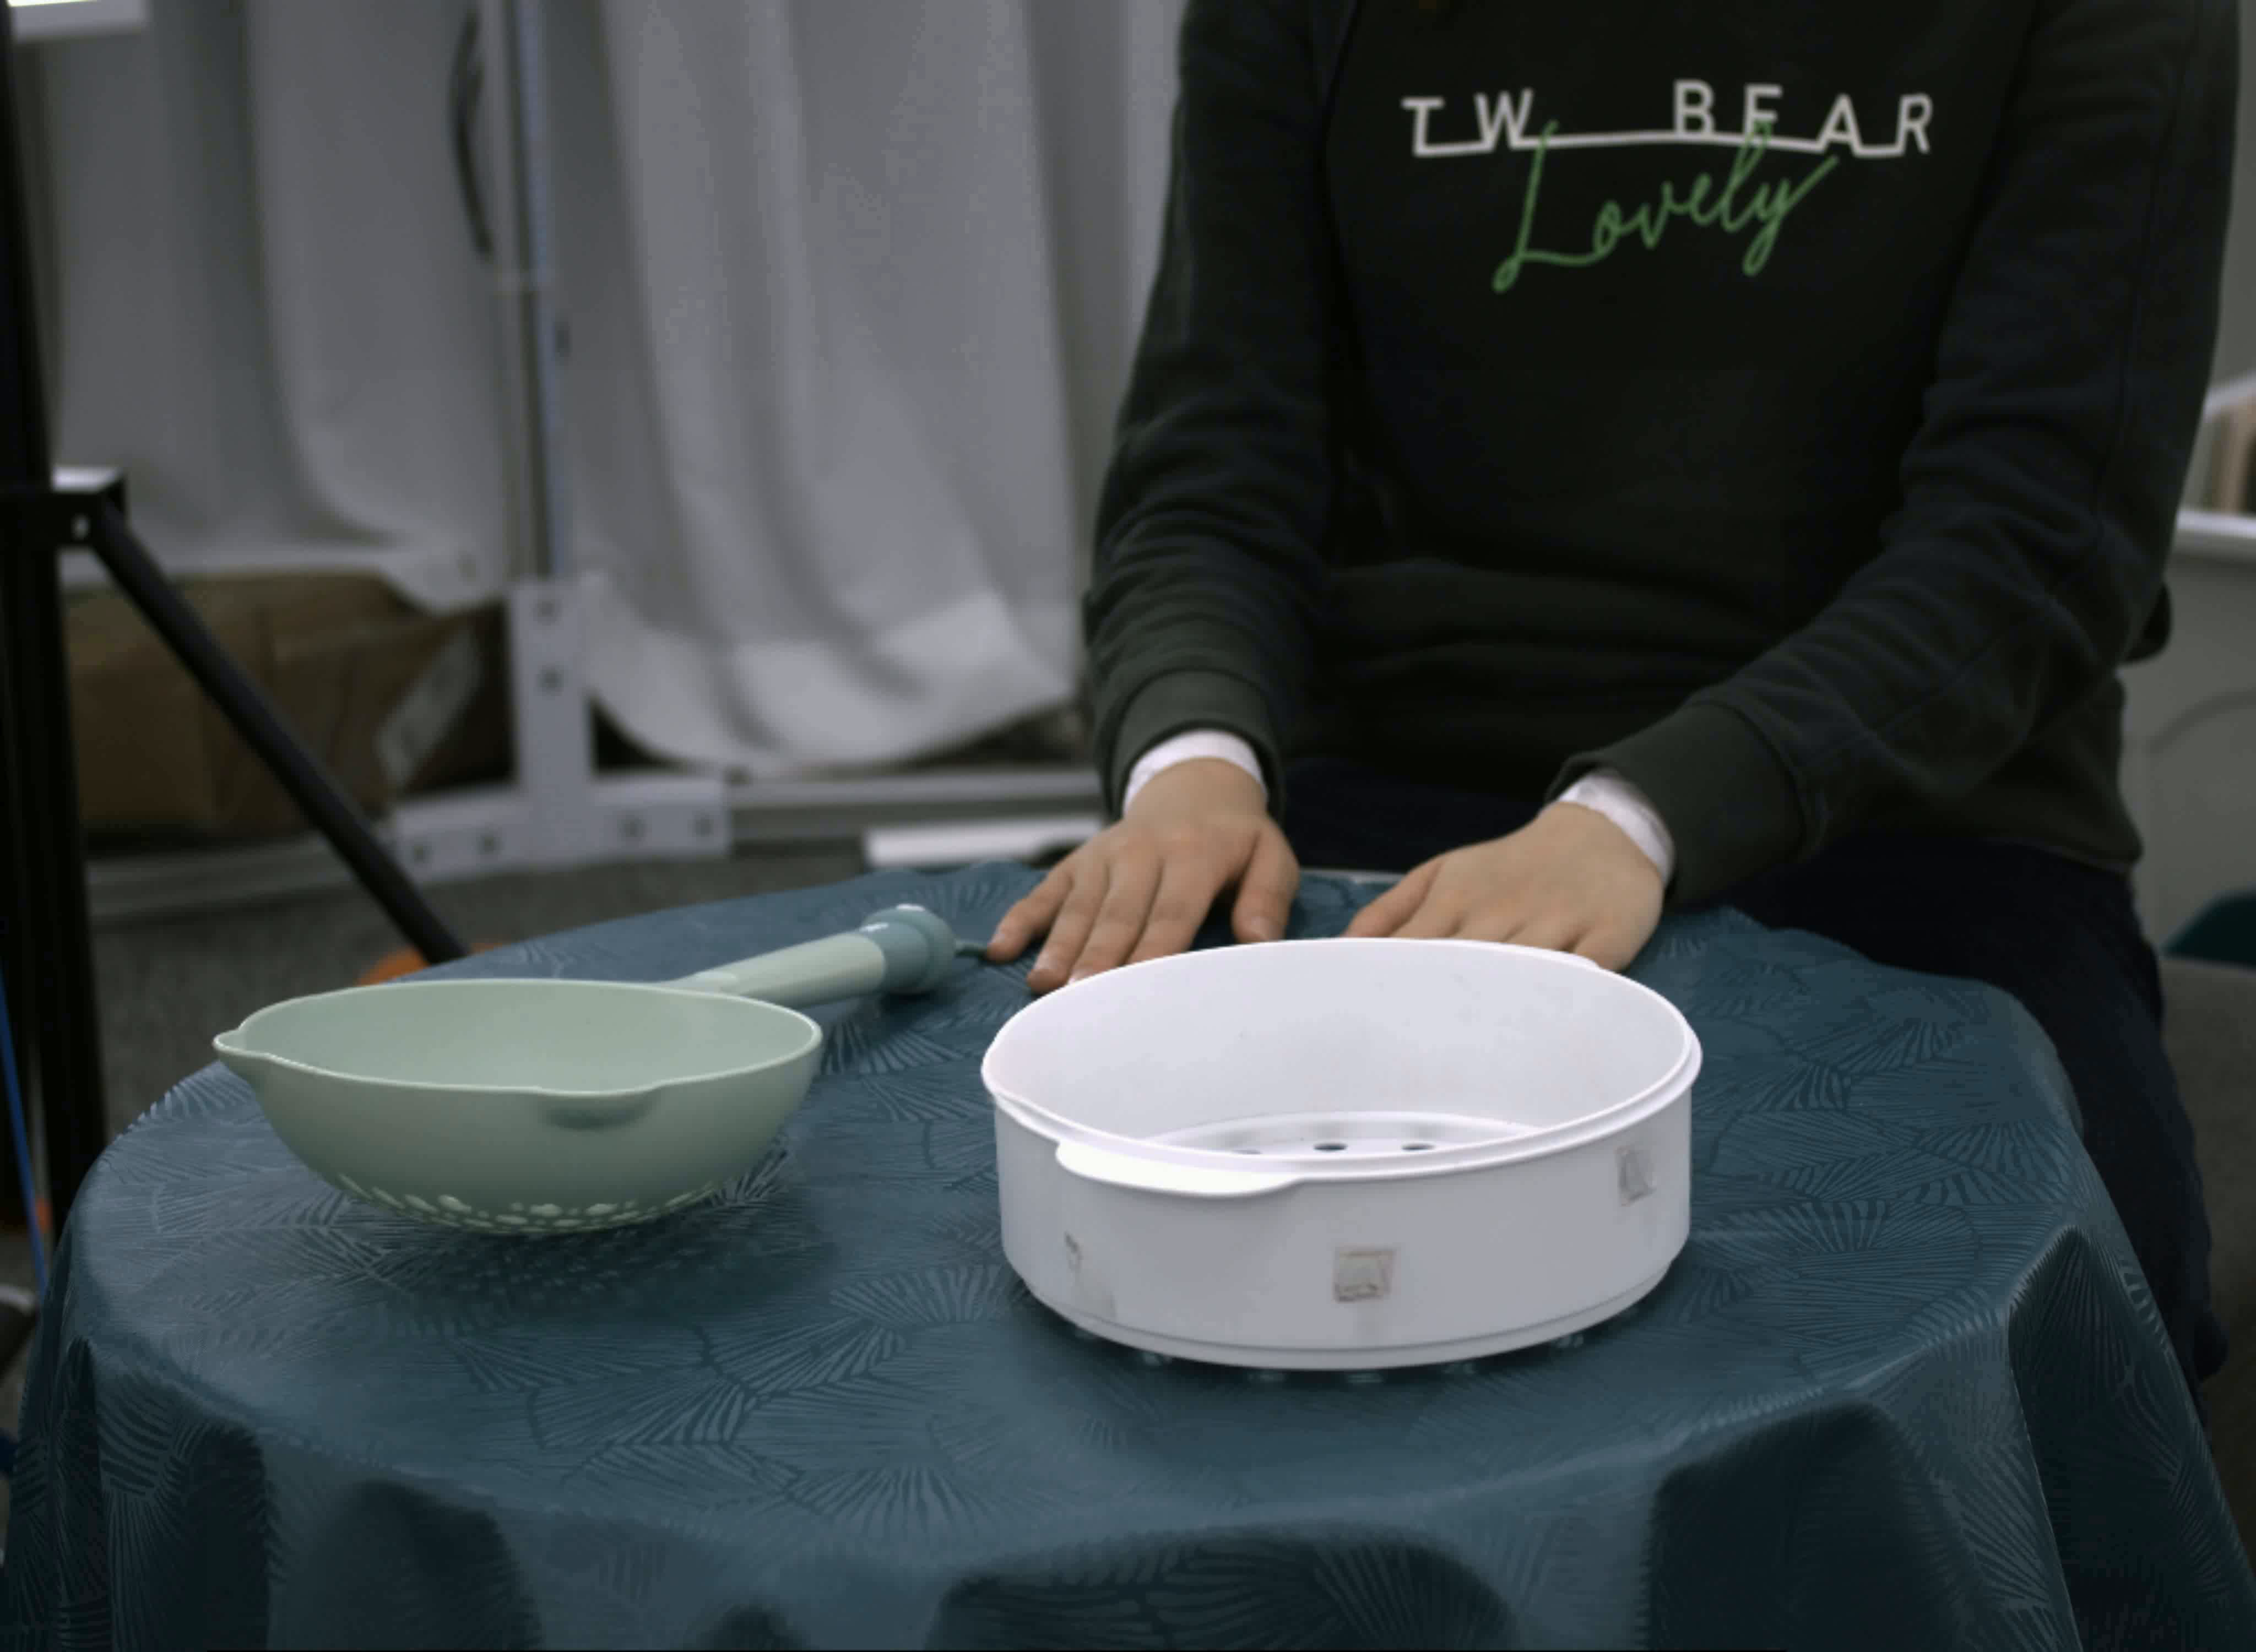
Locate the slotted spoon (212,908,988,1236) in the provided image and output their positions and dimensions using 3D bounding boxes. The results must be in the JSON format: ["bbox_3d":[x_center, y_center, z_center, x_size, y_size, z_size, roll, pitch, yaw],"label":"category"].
[{"bbox_3d":[-0.131,0.060,1.633,0.172,0.075,0.353,6,18,26],"label":"slotted spoon"}]

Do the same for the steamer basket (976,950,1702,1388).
[{"bbox_3d":[0.059,0.095,1.477,0.205,0.069,0.226,7,18,28],"label":"steamer basket"}]
